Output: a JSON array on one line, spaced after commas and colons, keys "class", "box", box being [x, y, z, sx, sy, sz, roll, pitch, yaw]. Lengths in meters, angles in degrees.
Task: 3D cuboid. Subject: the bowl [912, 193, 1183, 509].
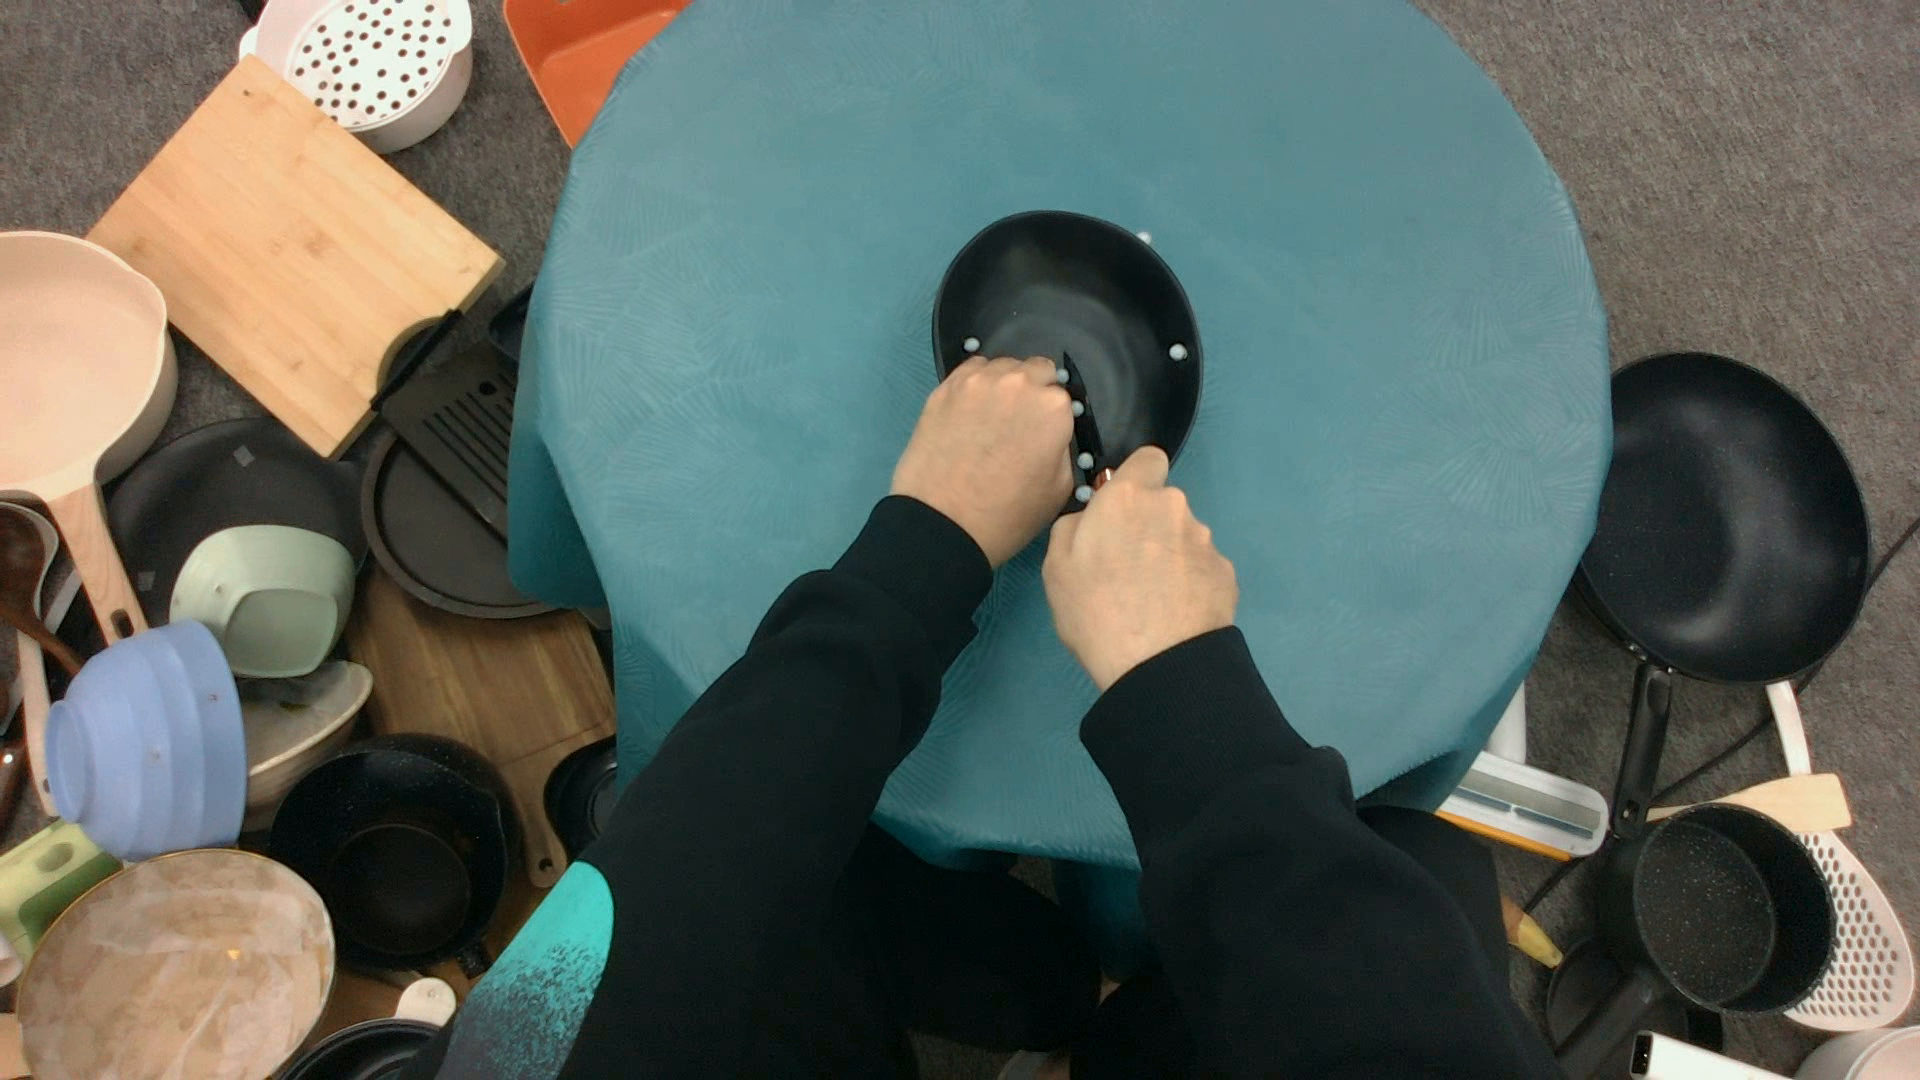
[{"class": "bowl", "box": [0.043, -0.094, 0.721, 0.137, 0.066, 0.170, -11, 76, -8]}]

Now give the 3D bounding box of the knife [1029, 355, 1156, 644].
[{"class": "knife", "box": [0.060, -0.031, 0.669, 0.017, 0.026, 0.226, 10, 38, -20]}]
